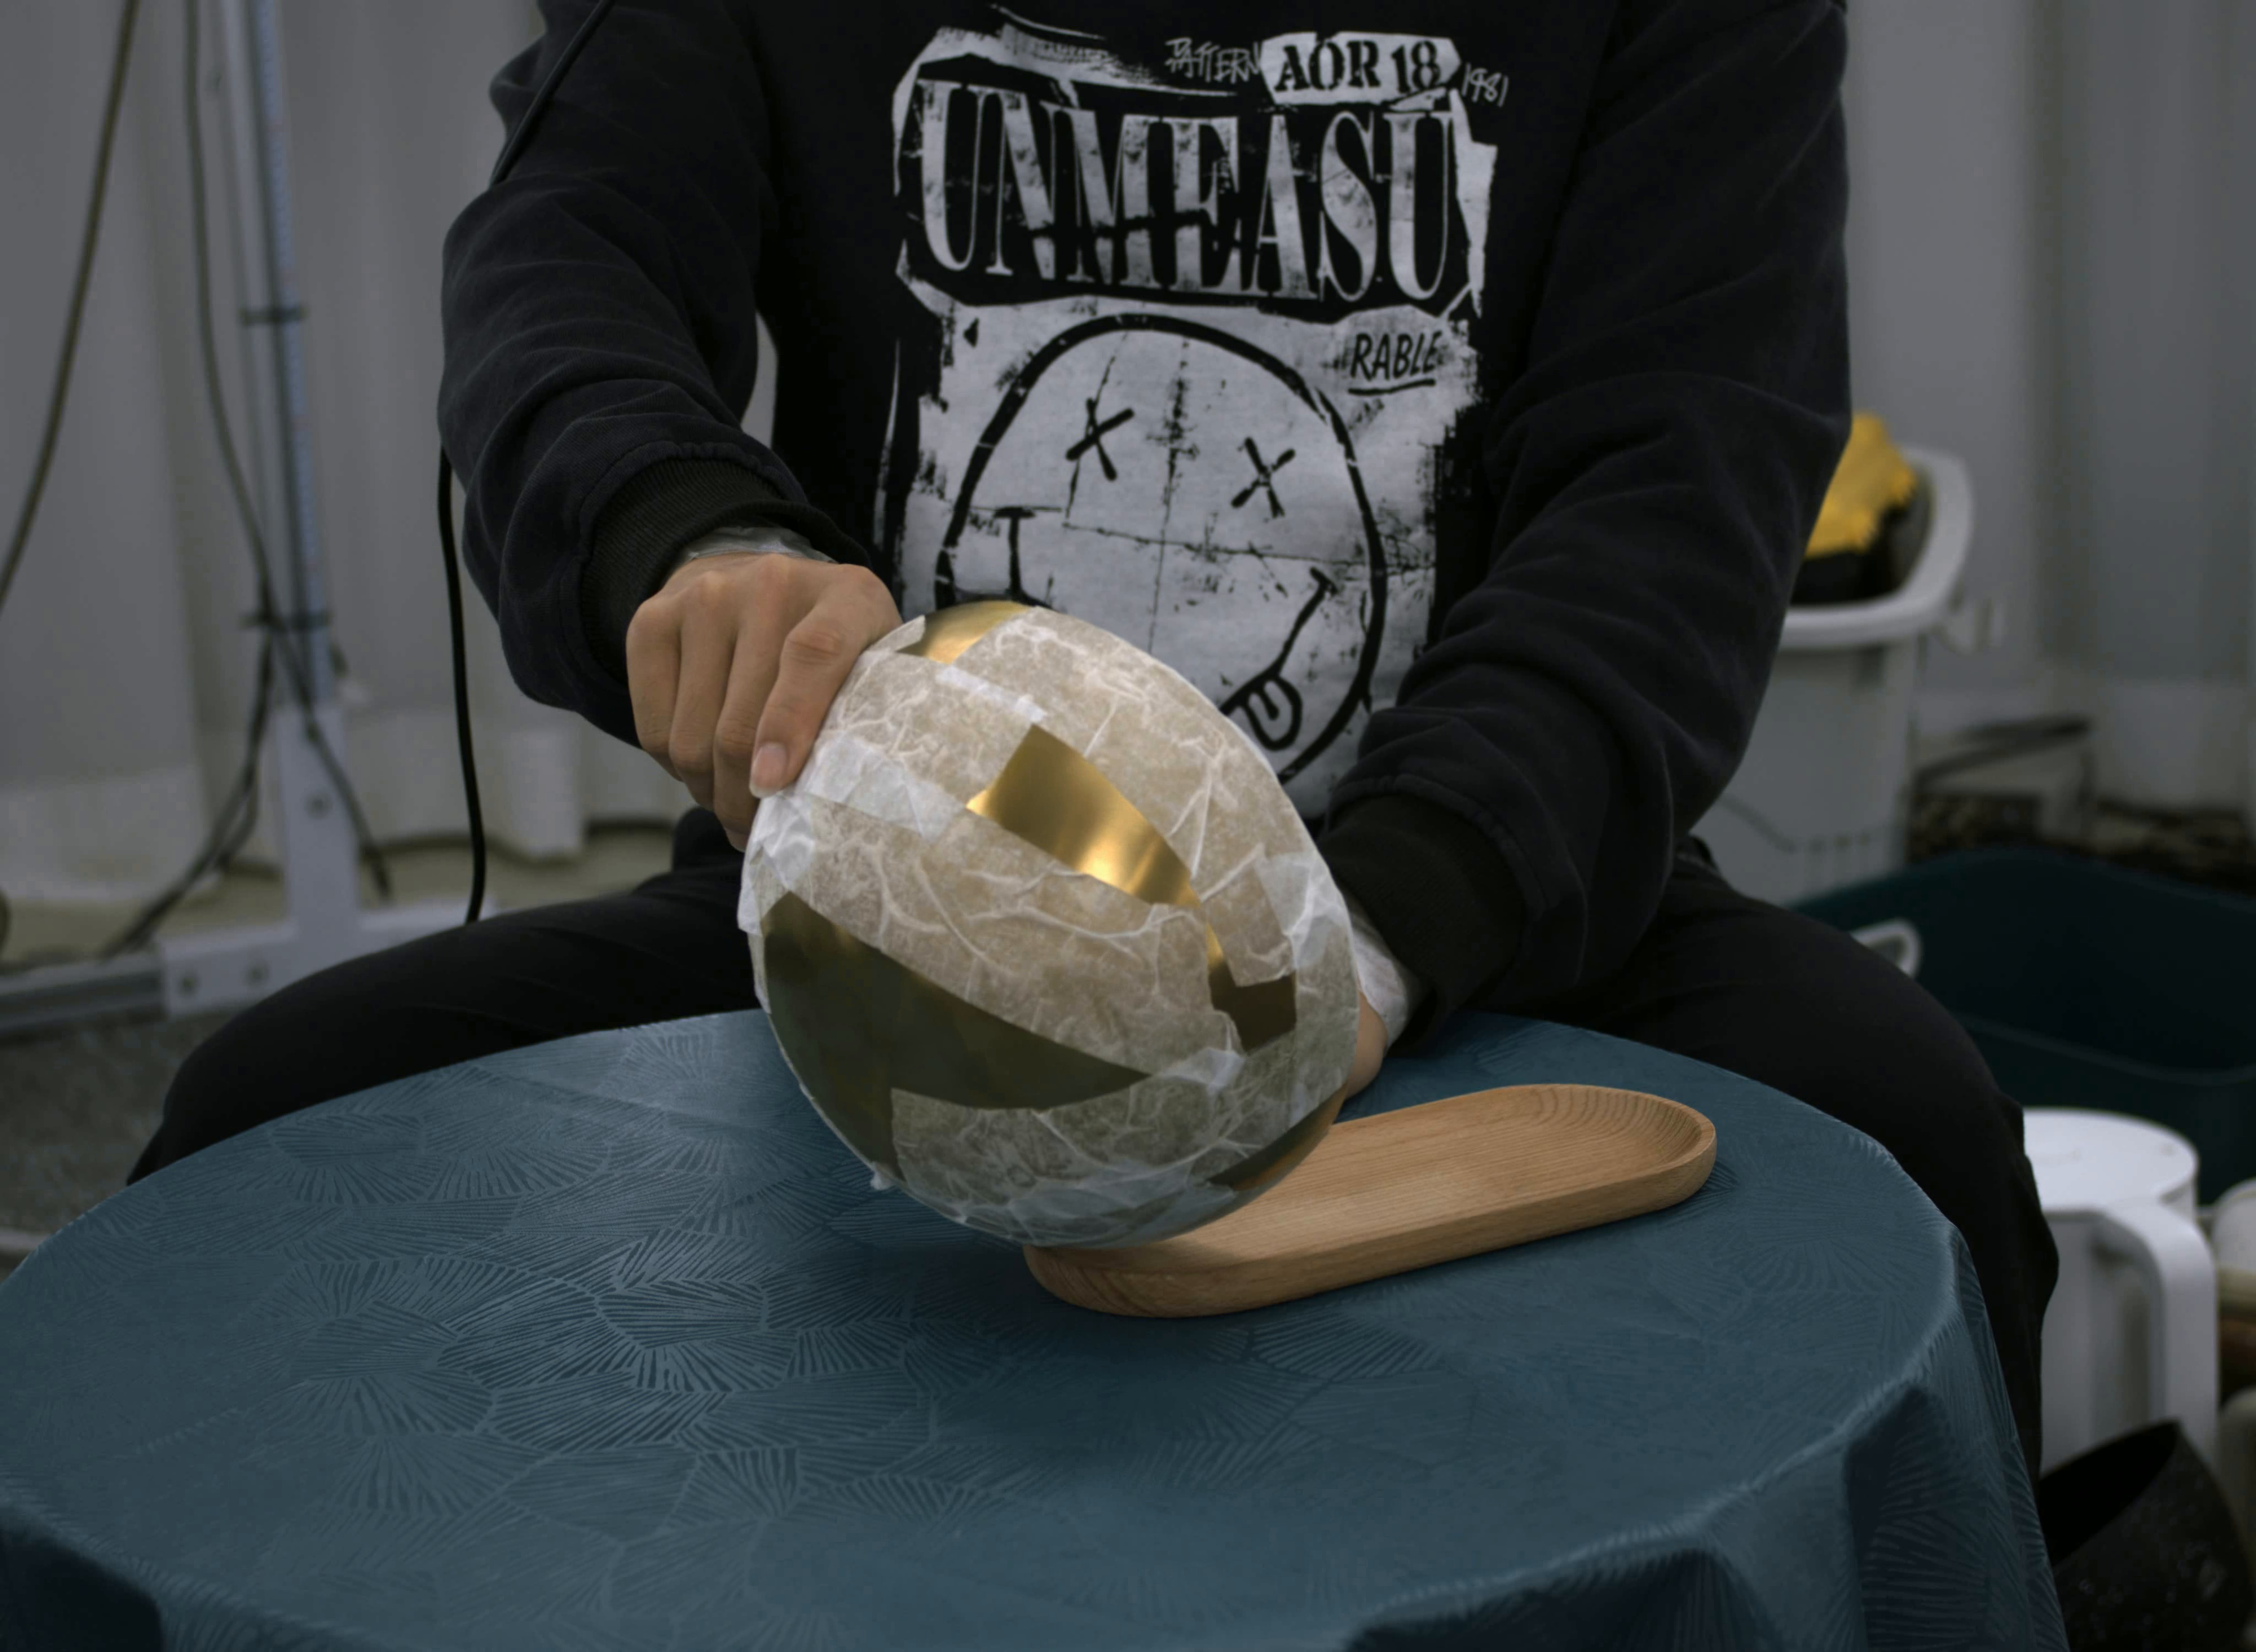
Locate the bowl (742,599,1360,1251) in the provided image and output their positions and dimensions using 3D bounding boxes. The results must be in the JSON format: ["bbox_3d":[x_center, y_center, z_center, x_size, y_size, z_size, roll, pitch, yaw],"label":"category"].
[{"bbox_3d":[-0.041,0.046,1.587,0.215,0.213,0.095,9,31,38],"label":"bowl"}]

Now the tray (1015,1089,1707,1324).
[{"bbox_3d":[0.073,0.115,1.668,0.230,0.020,0.102,-13,16,-28],"label":"tray"}]
